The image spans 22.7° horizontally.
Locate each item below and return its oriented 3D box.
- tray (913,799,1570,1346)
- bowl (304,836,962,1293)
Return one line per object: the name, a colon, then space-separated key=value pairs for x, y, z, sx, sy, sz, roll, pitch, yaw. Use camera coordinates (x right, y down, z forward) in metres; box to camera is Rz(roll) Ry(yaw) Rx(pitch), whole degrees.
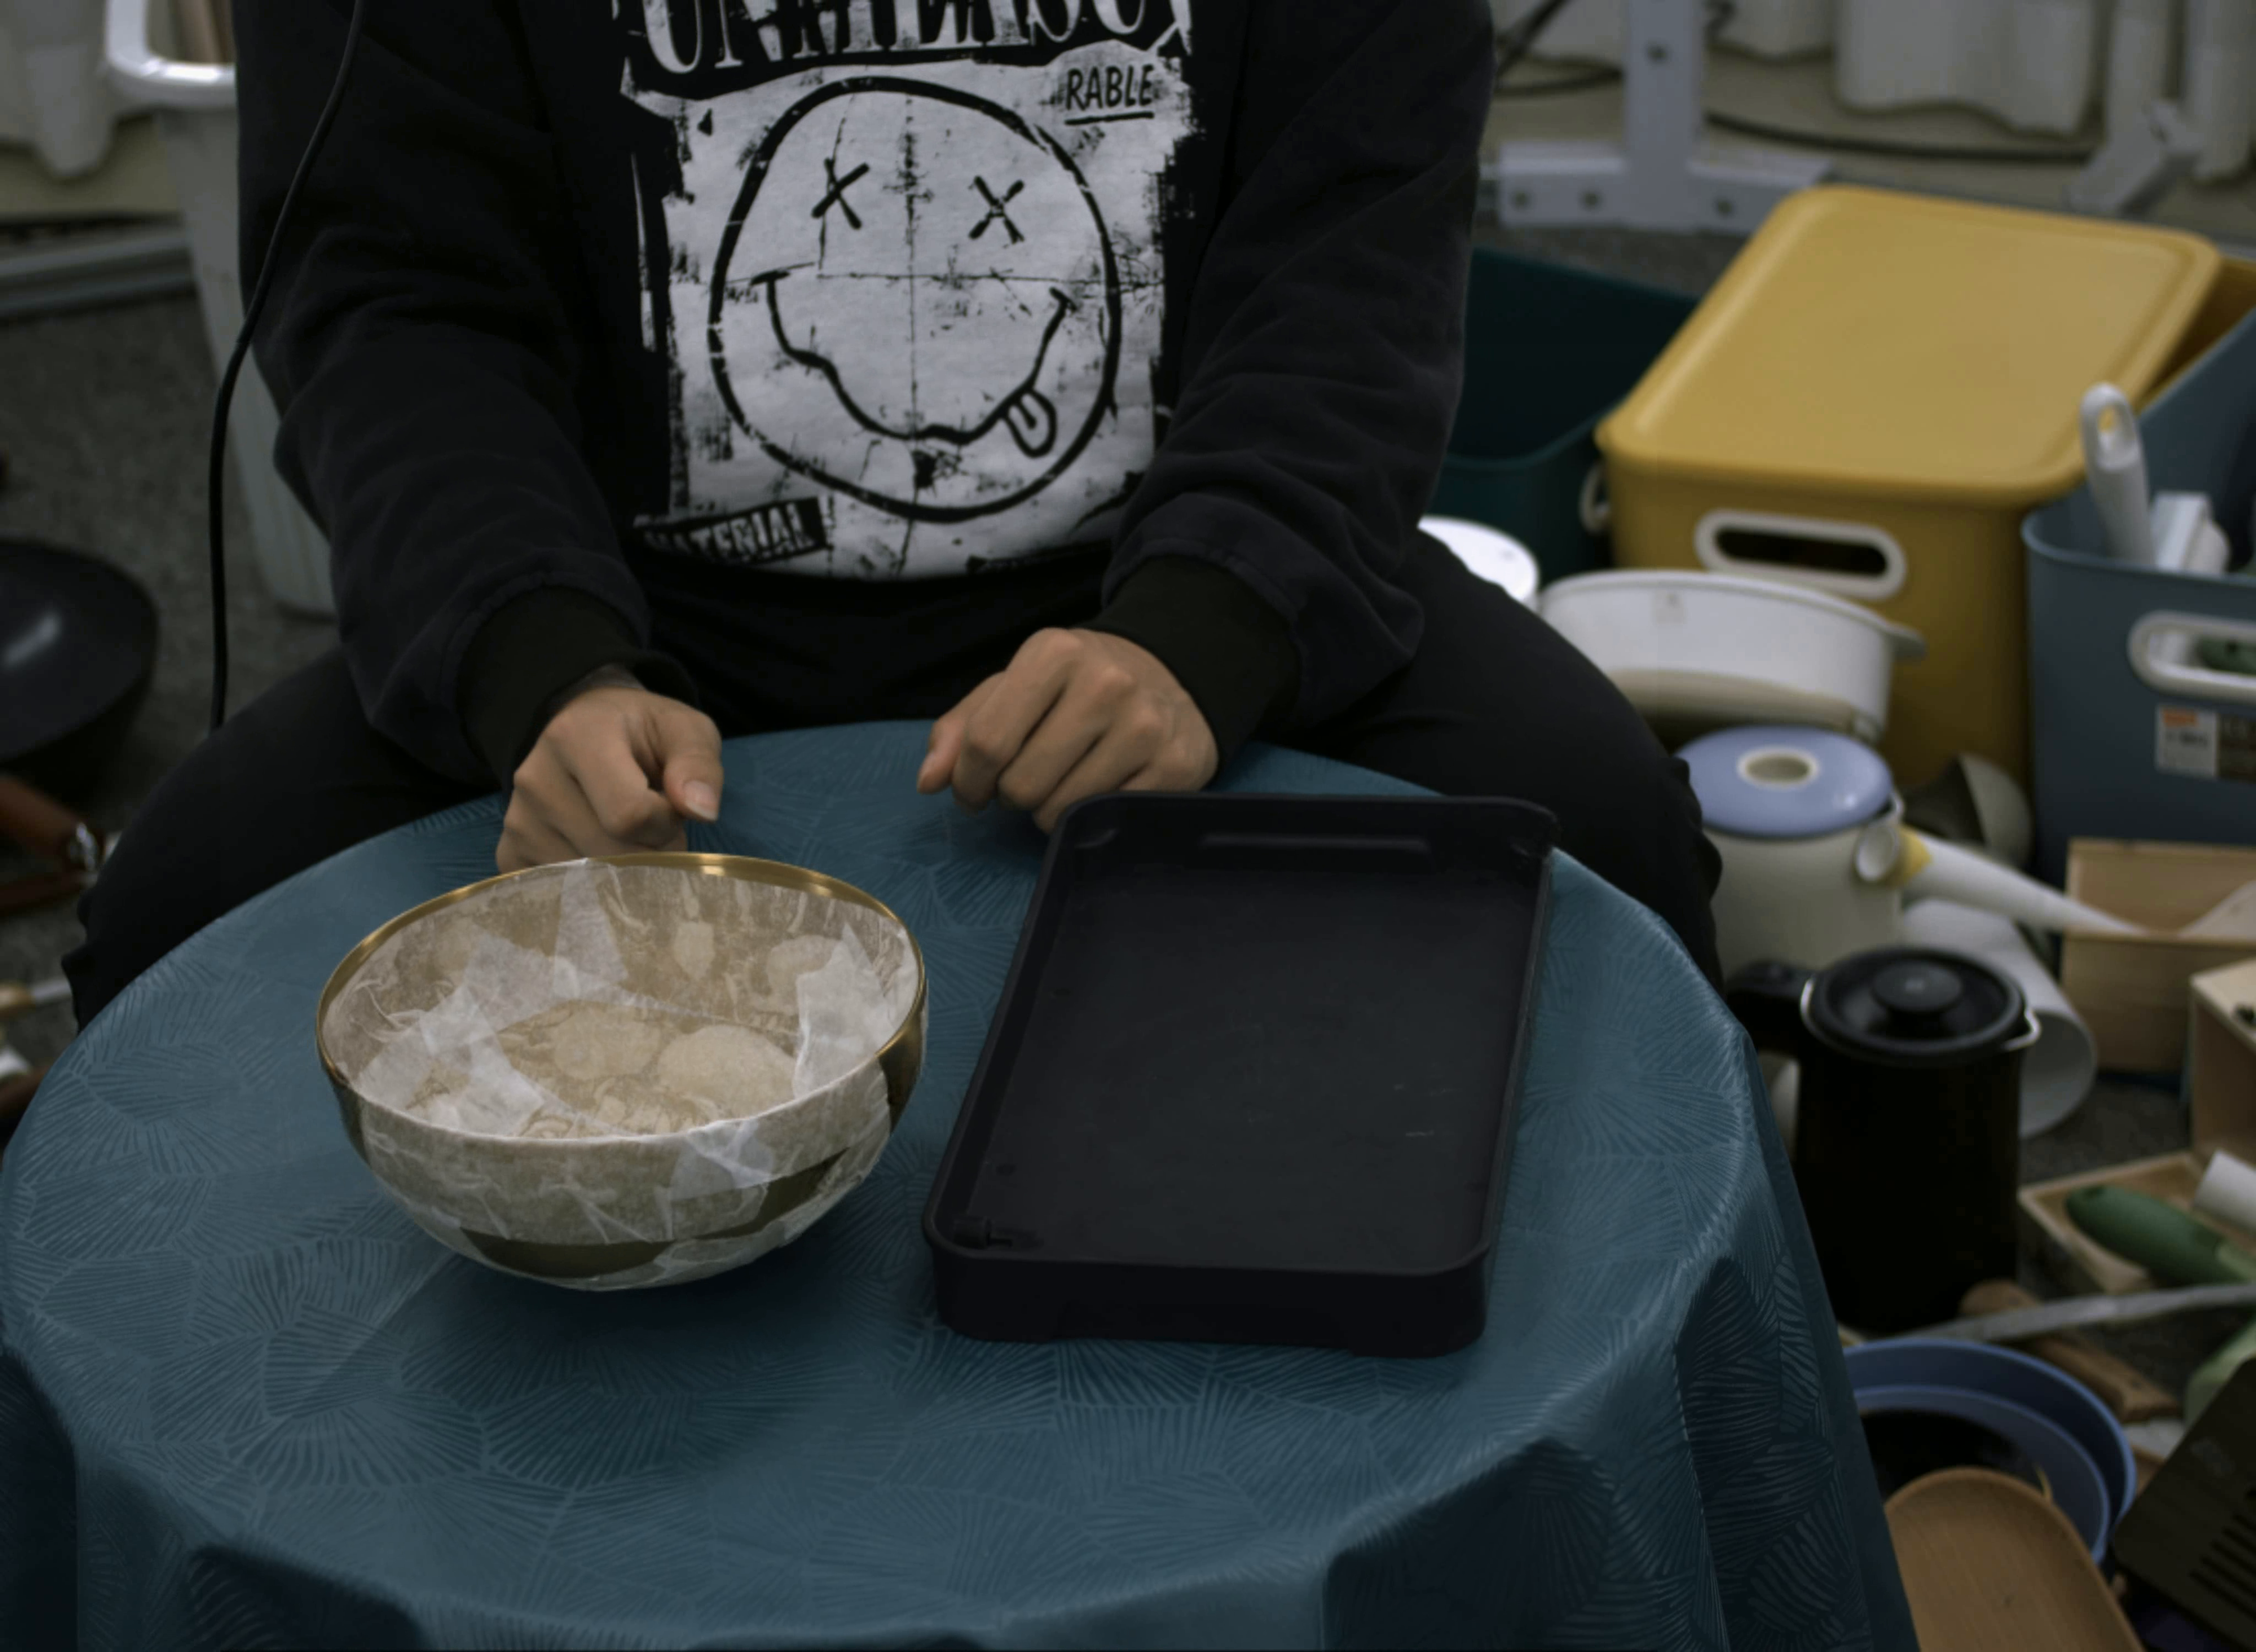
tray: x=0.046 y=0.077 z=1.901 sx=0.183 sy=0.036 sz=0.323 roll=1 pitch=26 yaw=10
bowl: x=-0.159 y=0.091 z=1.837 sx=0.213 sy=0.093 sz=0.218 roll=-3 pitch=25 yaw=2
